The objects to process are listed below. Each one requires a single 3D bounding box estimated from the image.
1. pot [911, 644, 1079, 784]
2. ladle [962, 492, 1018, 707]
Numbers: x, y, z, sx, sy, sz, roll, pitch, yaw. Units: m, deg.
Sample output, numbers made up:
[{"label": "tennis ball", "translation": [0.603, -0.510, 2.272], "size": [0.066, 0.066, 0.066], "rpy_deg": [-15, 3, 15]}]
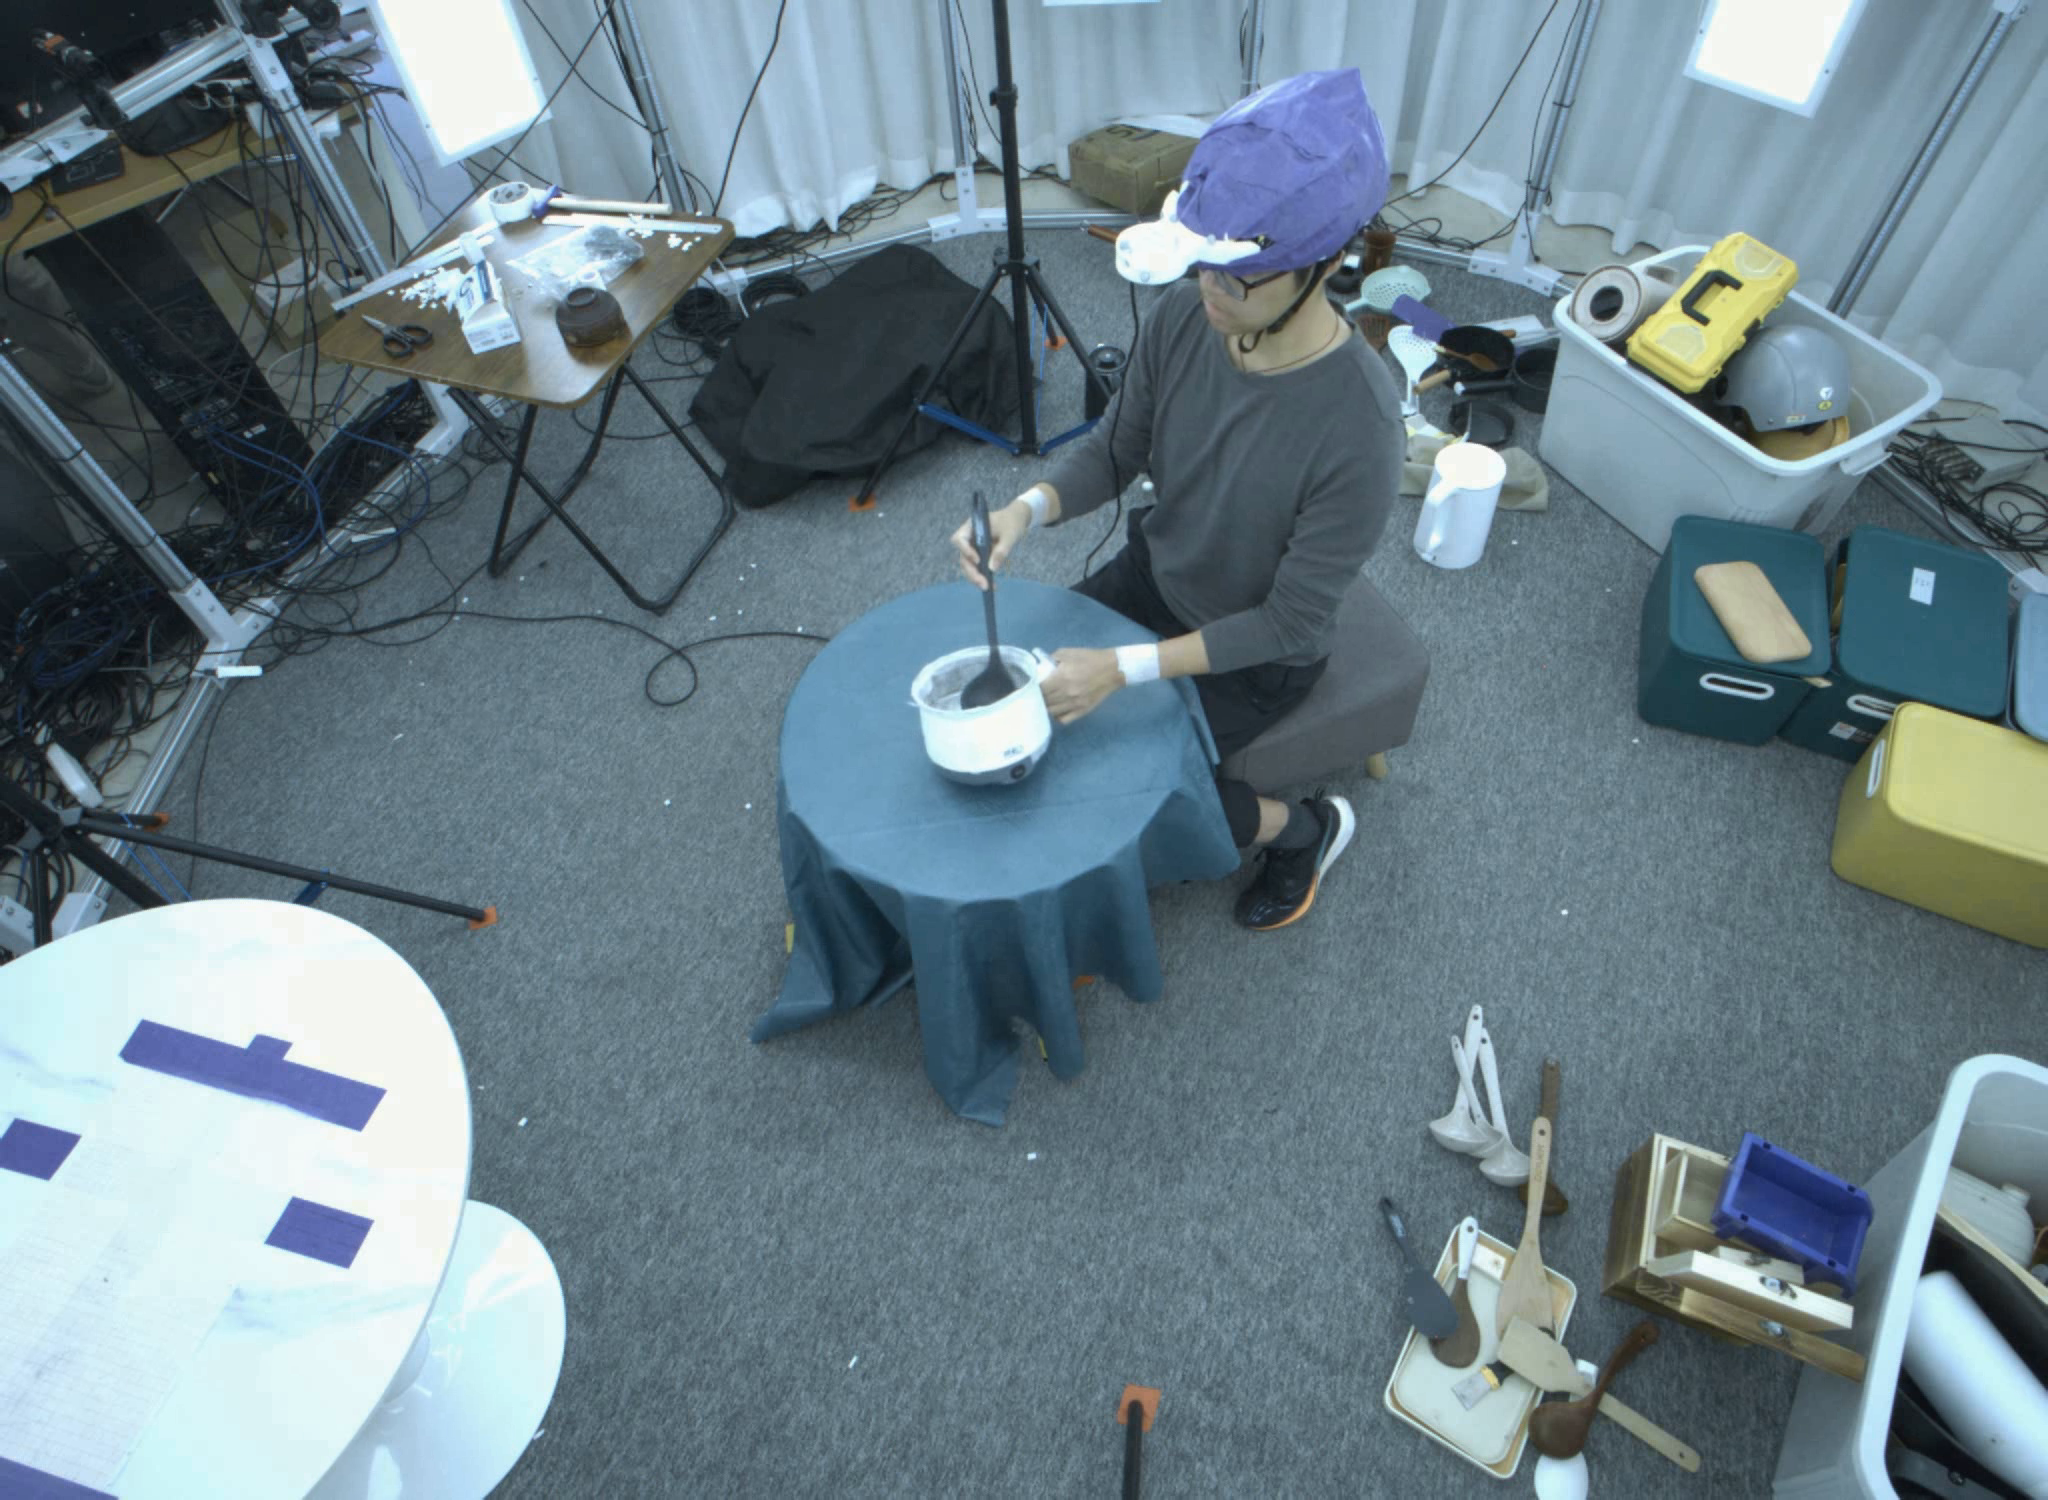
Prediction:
[{"label": "pot", "translation": [-0.034, -0.060, 1.734], "size": [0.236, 0.138, 0.174], "rpy_deg": [-25, 37, -20]}, {"label": "ladle", "translation": [-0.056, -0.193, 1.680], "size": [0.085, 0.317, 0.064], "rpy_deg": [3, 25, 19]}]
